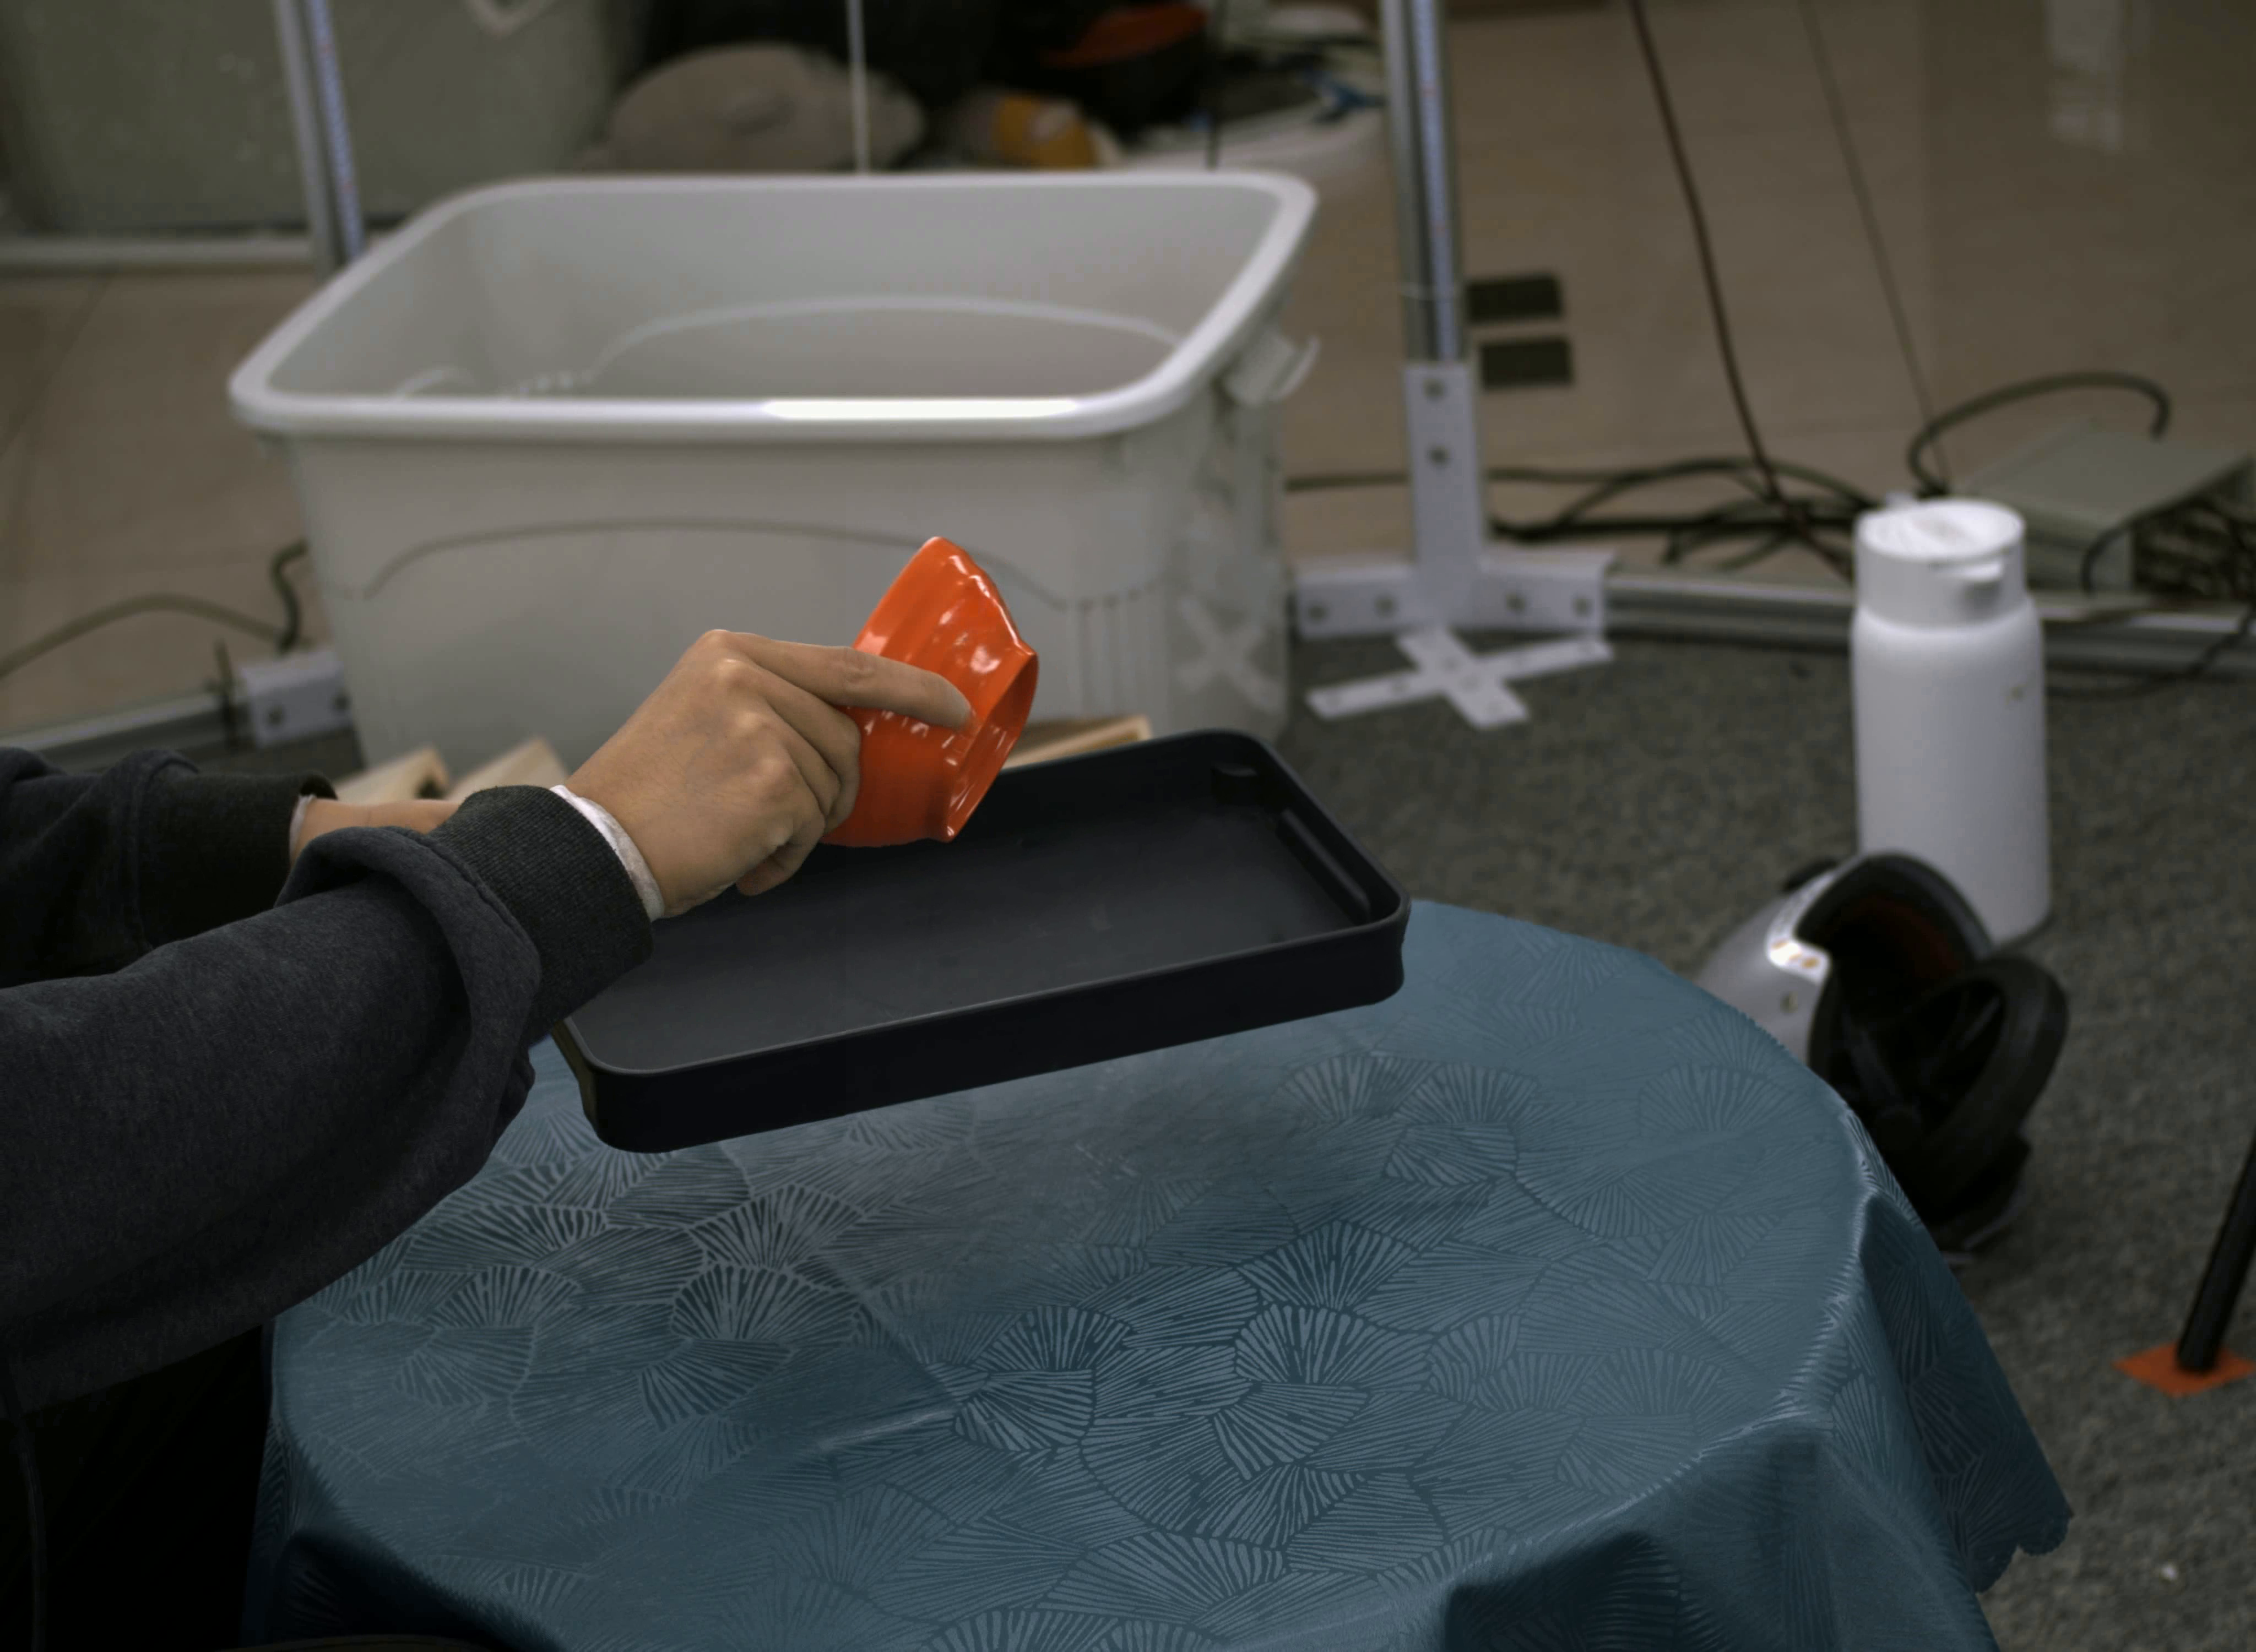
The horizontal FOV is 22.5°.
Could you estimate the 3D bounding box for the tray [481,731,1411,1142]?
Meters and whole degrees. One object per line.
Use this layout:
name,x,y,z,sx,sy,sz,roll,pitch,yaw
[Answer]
tray,-0.069,0.037,2.117,0.317,0.037,0.182,-10,28,-18

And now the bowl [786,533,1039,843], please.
bowl,-0.070,-0.039,1.980,0.051,0.121,0.117,30,34,8
